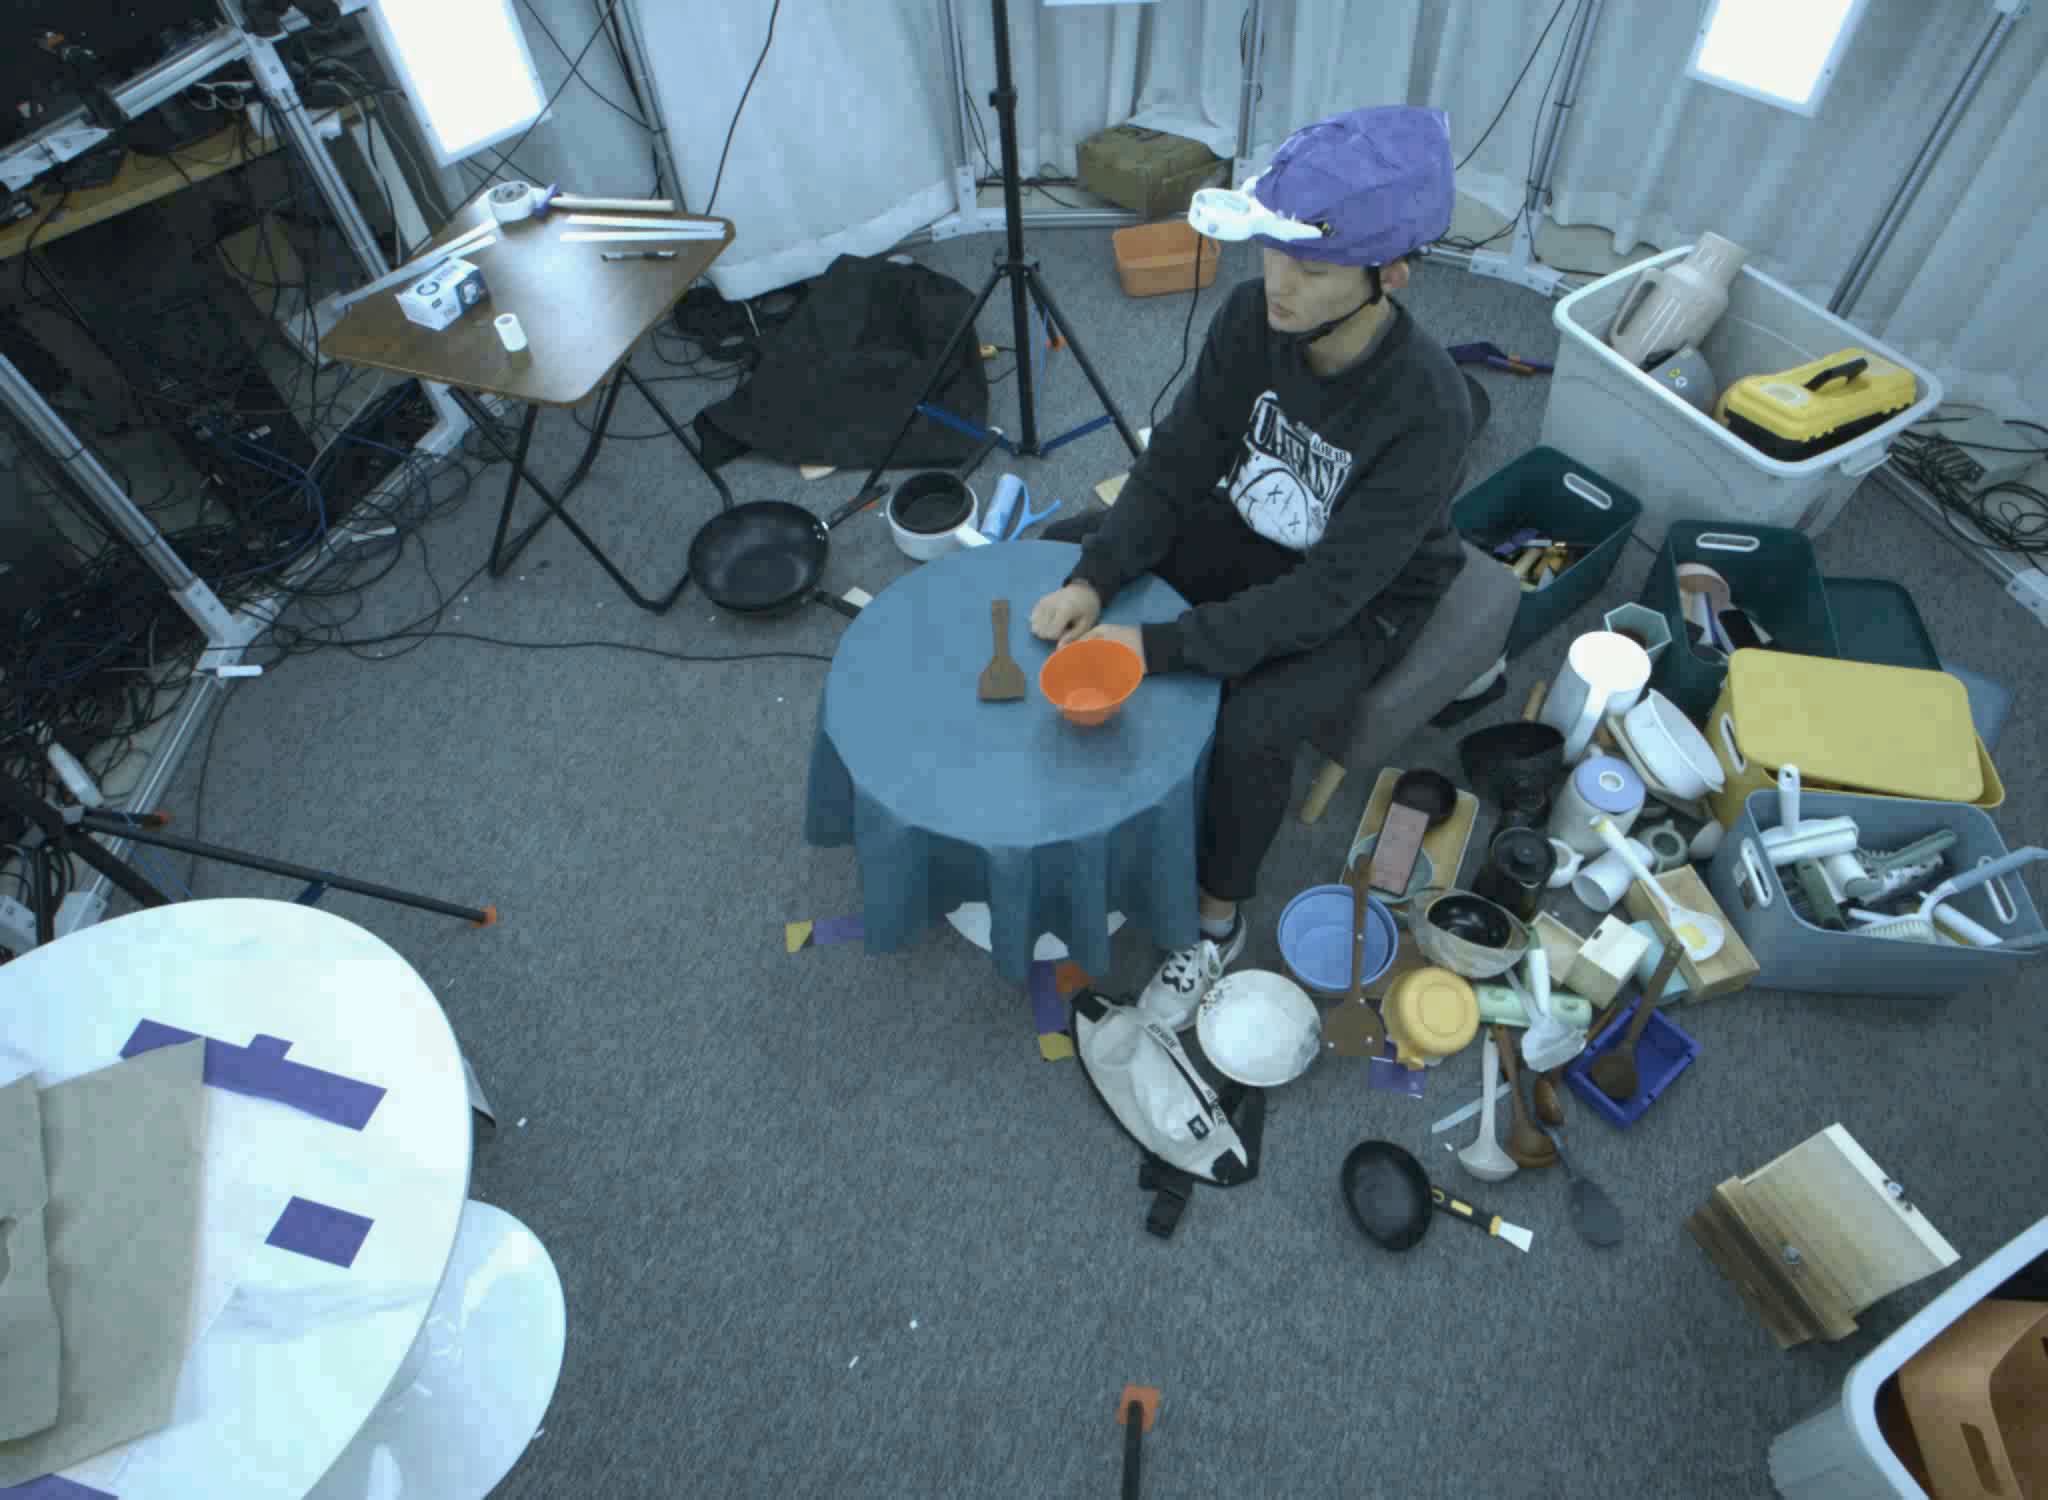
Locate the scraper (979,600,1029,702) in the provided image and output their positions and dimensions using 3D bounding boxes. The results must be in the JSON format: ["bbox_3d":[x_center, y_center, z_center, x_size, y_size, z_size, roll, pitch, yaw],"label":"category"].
[{"bbox_3d":[-0.033,-0.154,1.902,0.076,0.011,0.209,-2,54,-1],"label":"scraper"}]

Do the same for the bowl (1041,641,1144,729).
[{"bbox_3d":[0.099,-0.080,1.789,0.148,0.106,0.146,-1,55,2],"label":"bowl"}]
